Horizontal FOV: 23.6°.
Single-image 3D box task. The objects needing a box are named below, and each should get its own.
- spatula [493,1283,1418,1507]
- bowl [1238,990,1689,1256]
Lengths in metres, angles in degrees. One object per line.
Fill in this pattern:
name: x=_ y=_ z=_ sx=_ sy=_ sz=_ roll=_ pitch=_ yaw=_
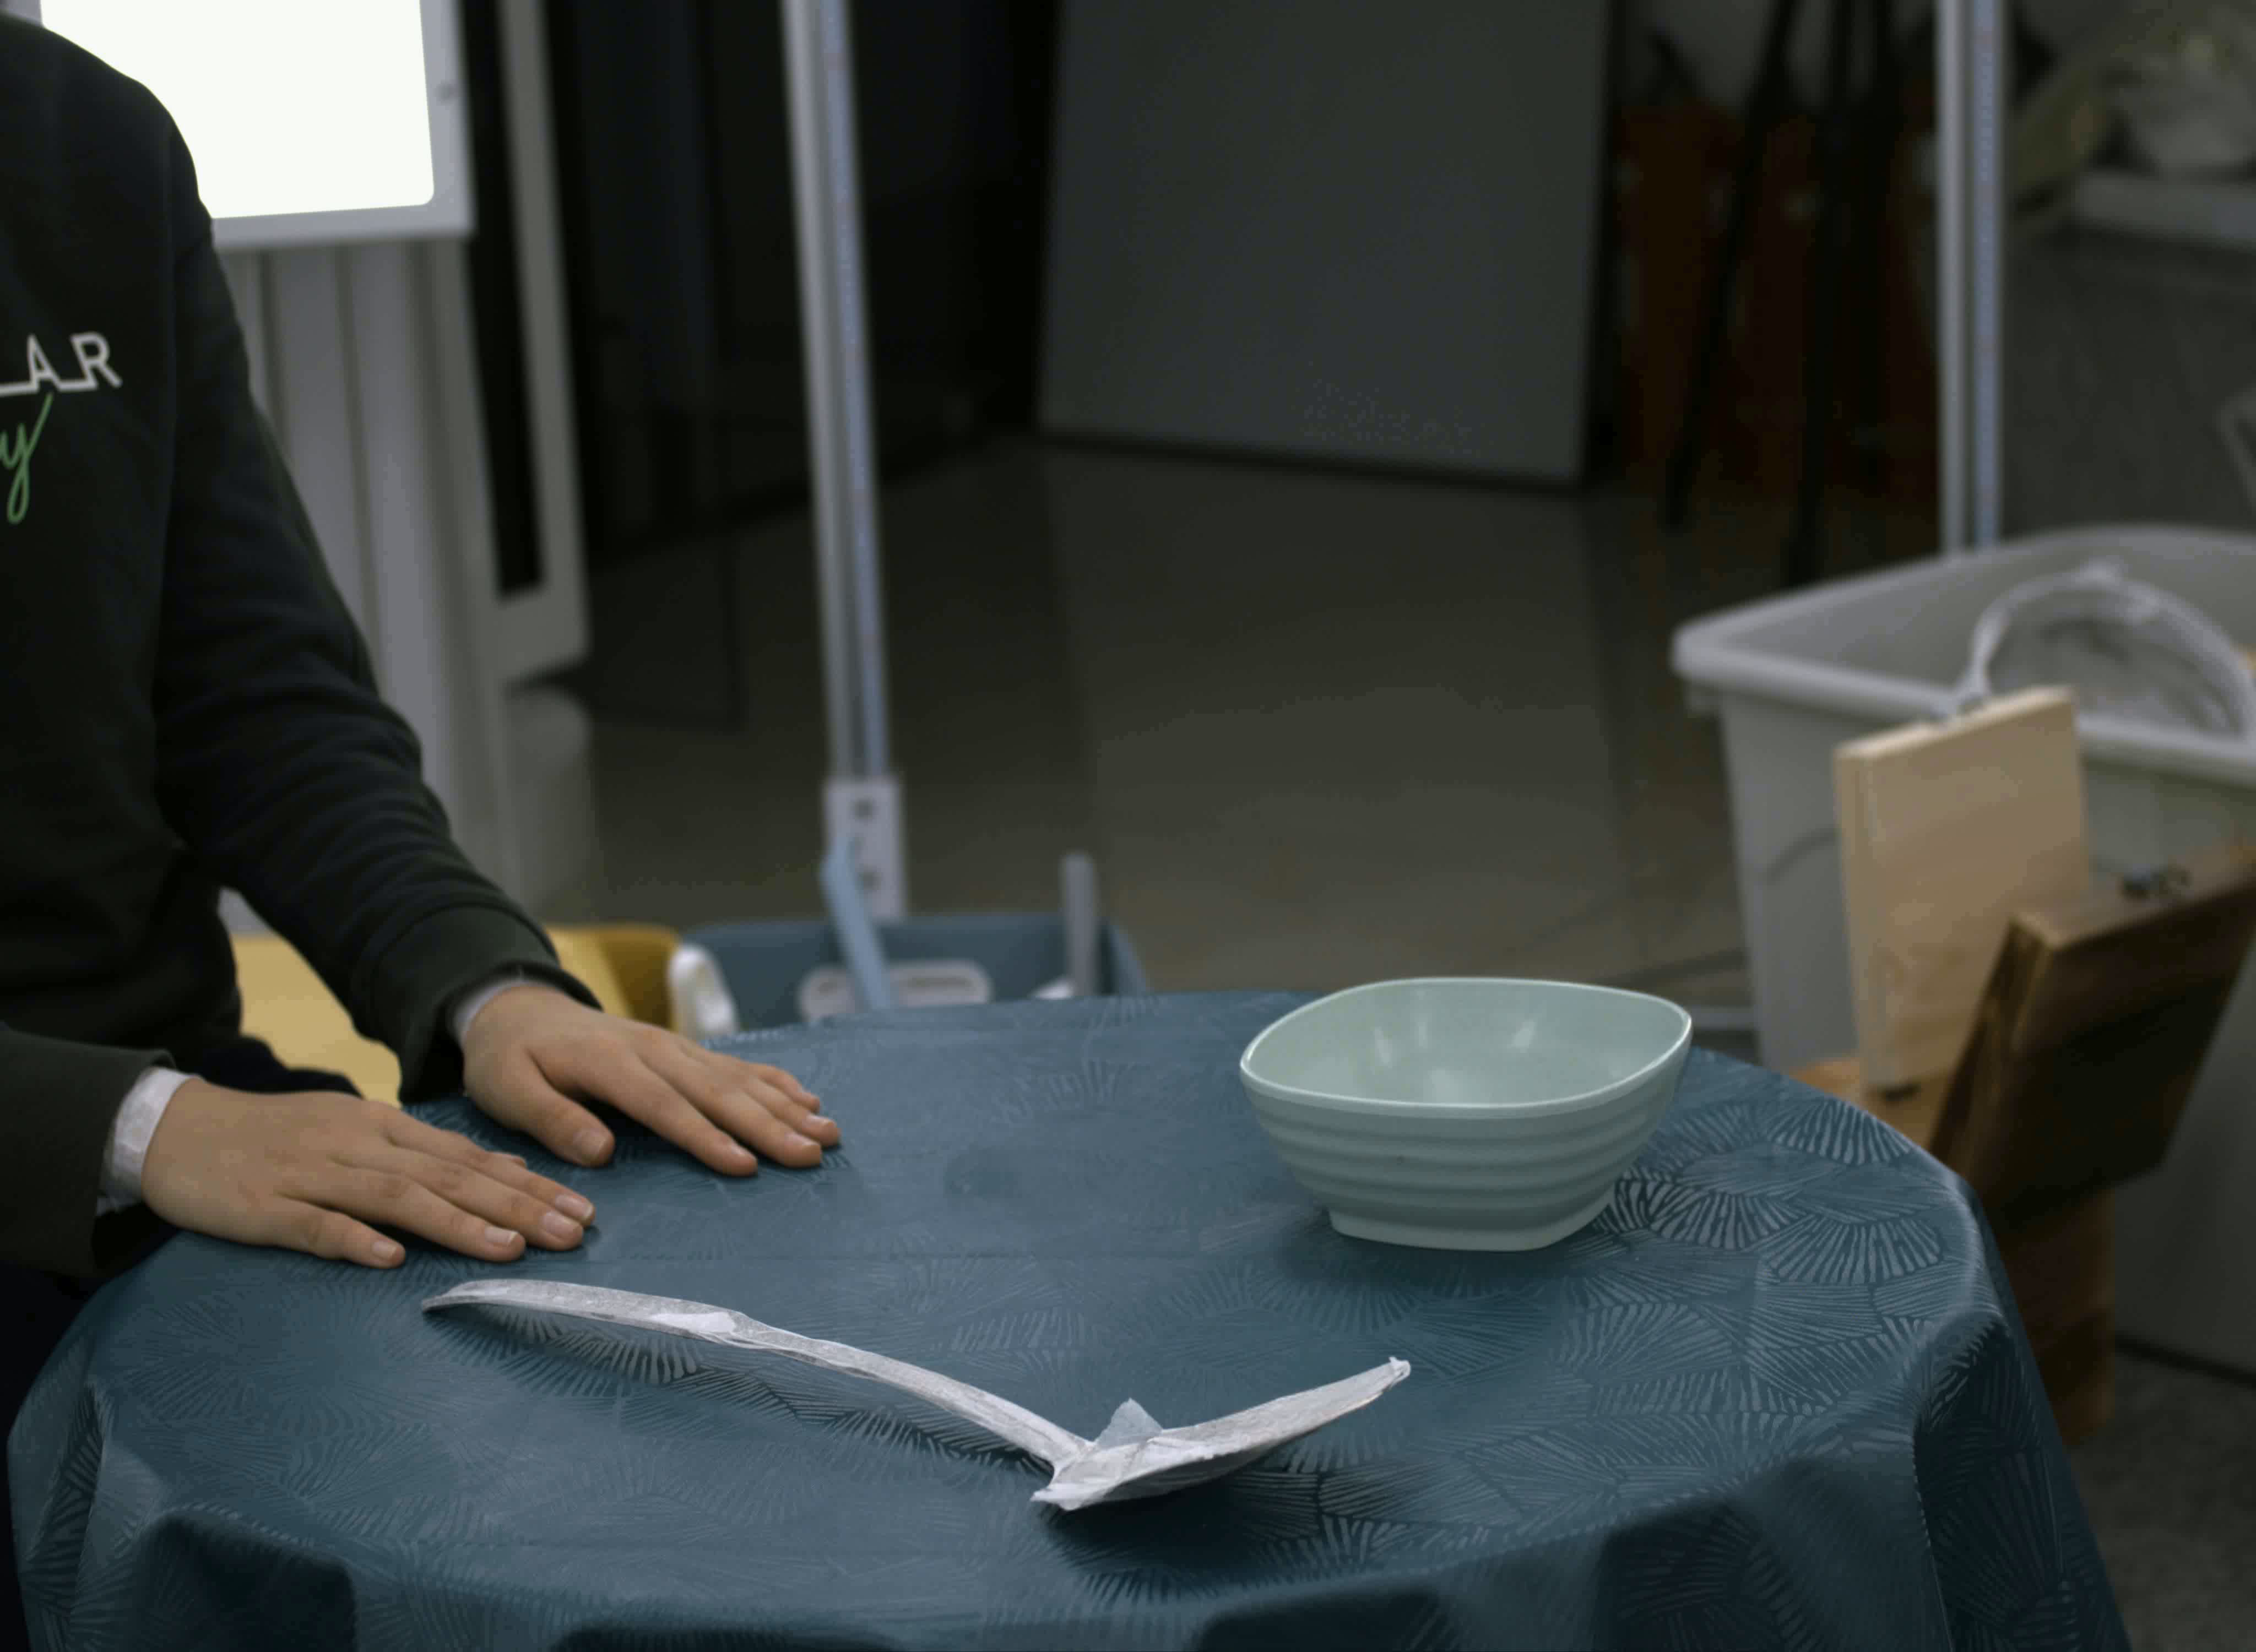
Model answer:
spatula: x=-0.072 y=0.154 z=1.577 sx=0.368 sy=0.045 sz=0.097 roll=9 pitch=21 yaw=43
bowl: x=0.108 y=0.097 z=1.722 sx=0.149 sy=0.059 sz=0.151 roll=-2 pitch=12 yaw=0
